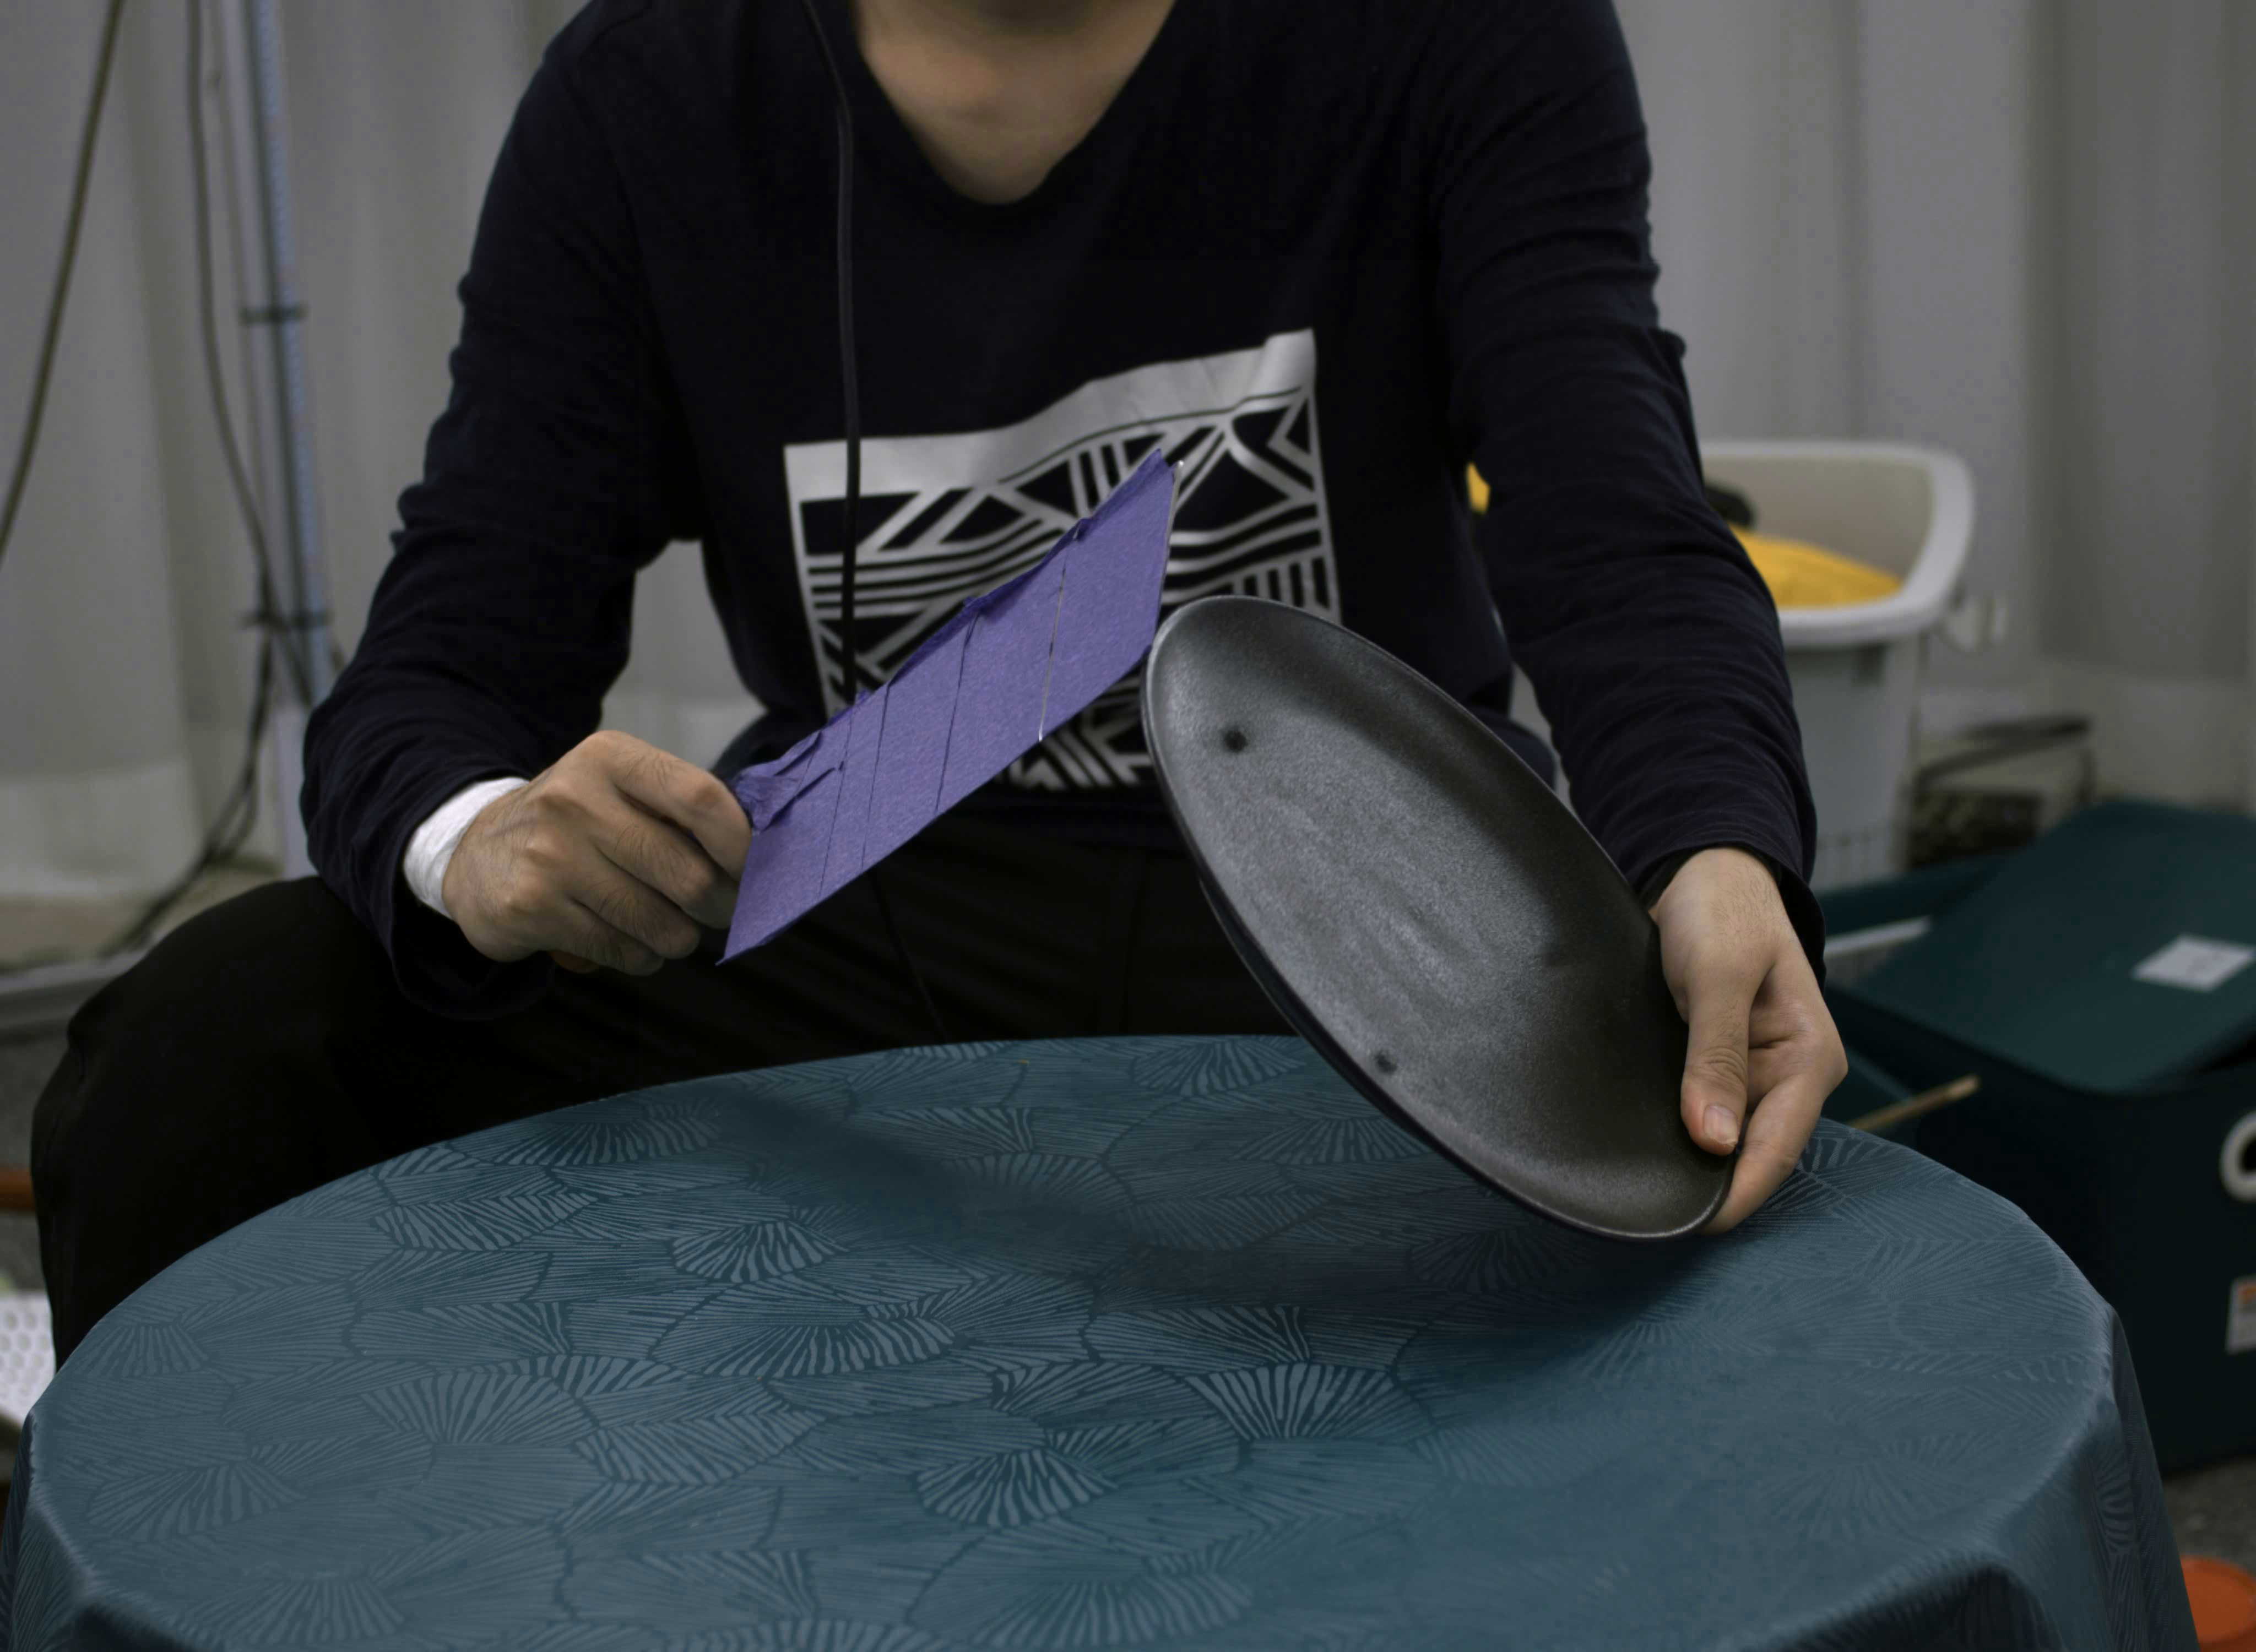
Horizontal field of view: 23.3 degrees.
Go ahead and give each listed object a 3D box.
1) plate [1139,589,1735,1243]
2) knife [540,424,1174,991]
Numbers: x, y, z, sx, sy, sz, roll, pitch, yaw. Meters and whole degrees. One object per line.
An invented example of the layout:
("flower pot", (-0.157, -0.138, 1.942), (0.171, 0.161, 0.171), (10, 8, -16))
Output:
("plate", (0.089, 0.030, 1.641), (0.023, 0.245, 0.245), (-43, -4, 26))
("knife", (-0.092, -0.013, 1.724), (0.313, 0.032, 0.105), (-39, 28, 37))
